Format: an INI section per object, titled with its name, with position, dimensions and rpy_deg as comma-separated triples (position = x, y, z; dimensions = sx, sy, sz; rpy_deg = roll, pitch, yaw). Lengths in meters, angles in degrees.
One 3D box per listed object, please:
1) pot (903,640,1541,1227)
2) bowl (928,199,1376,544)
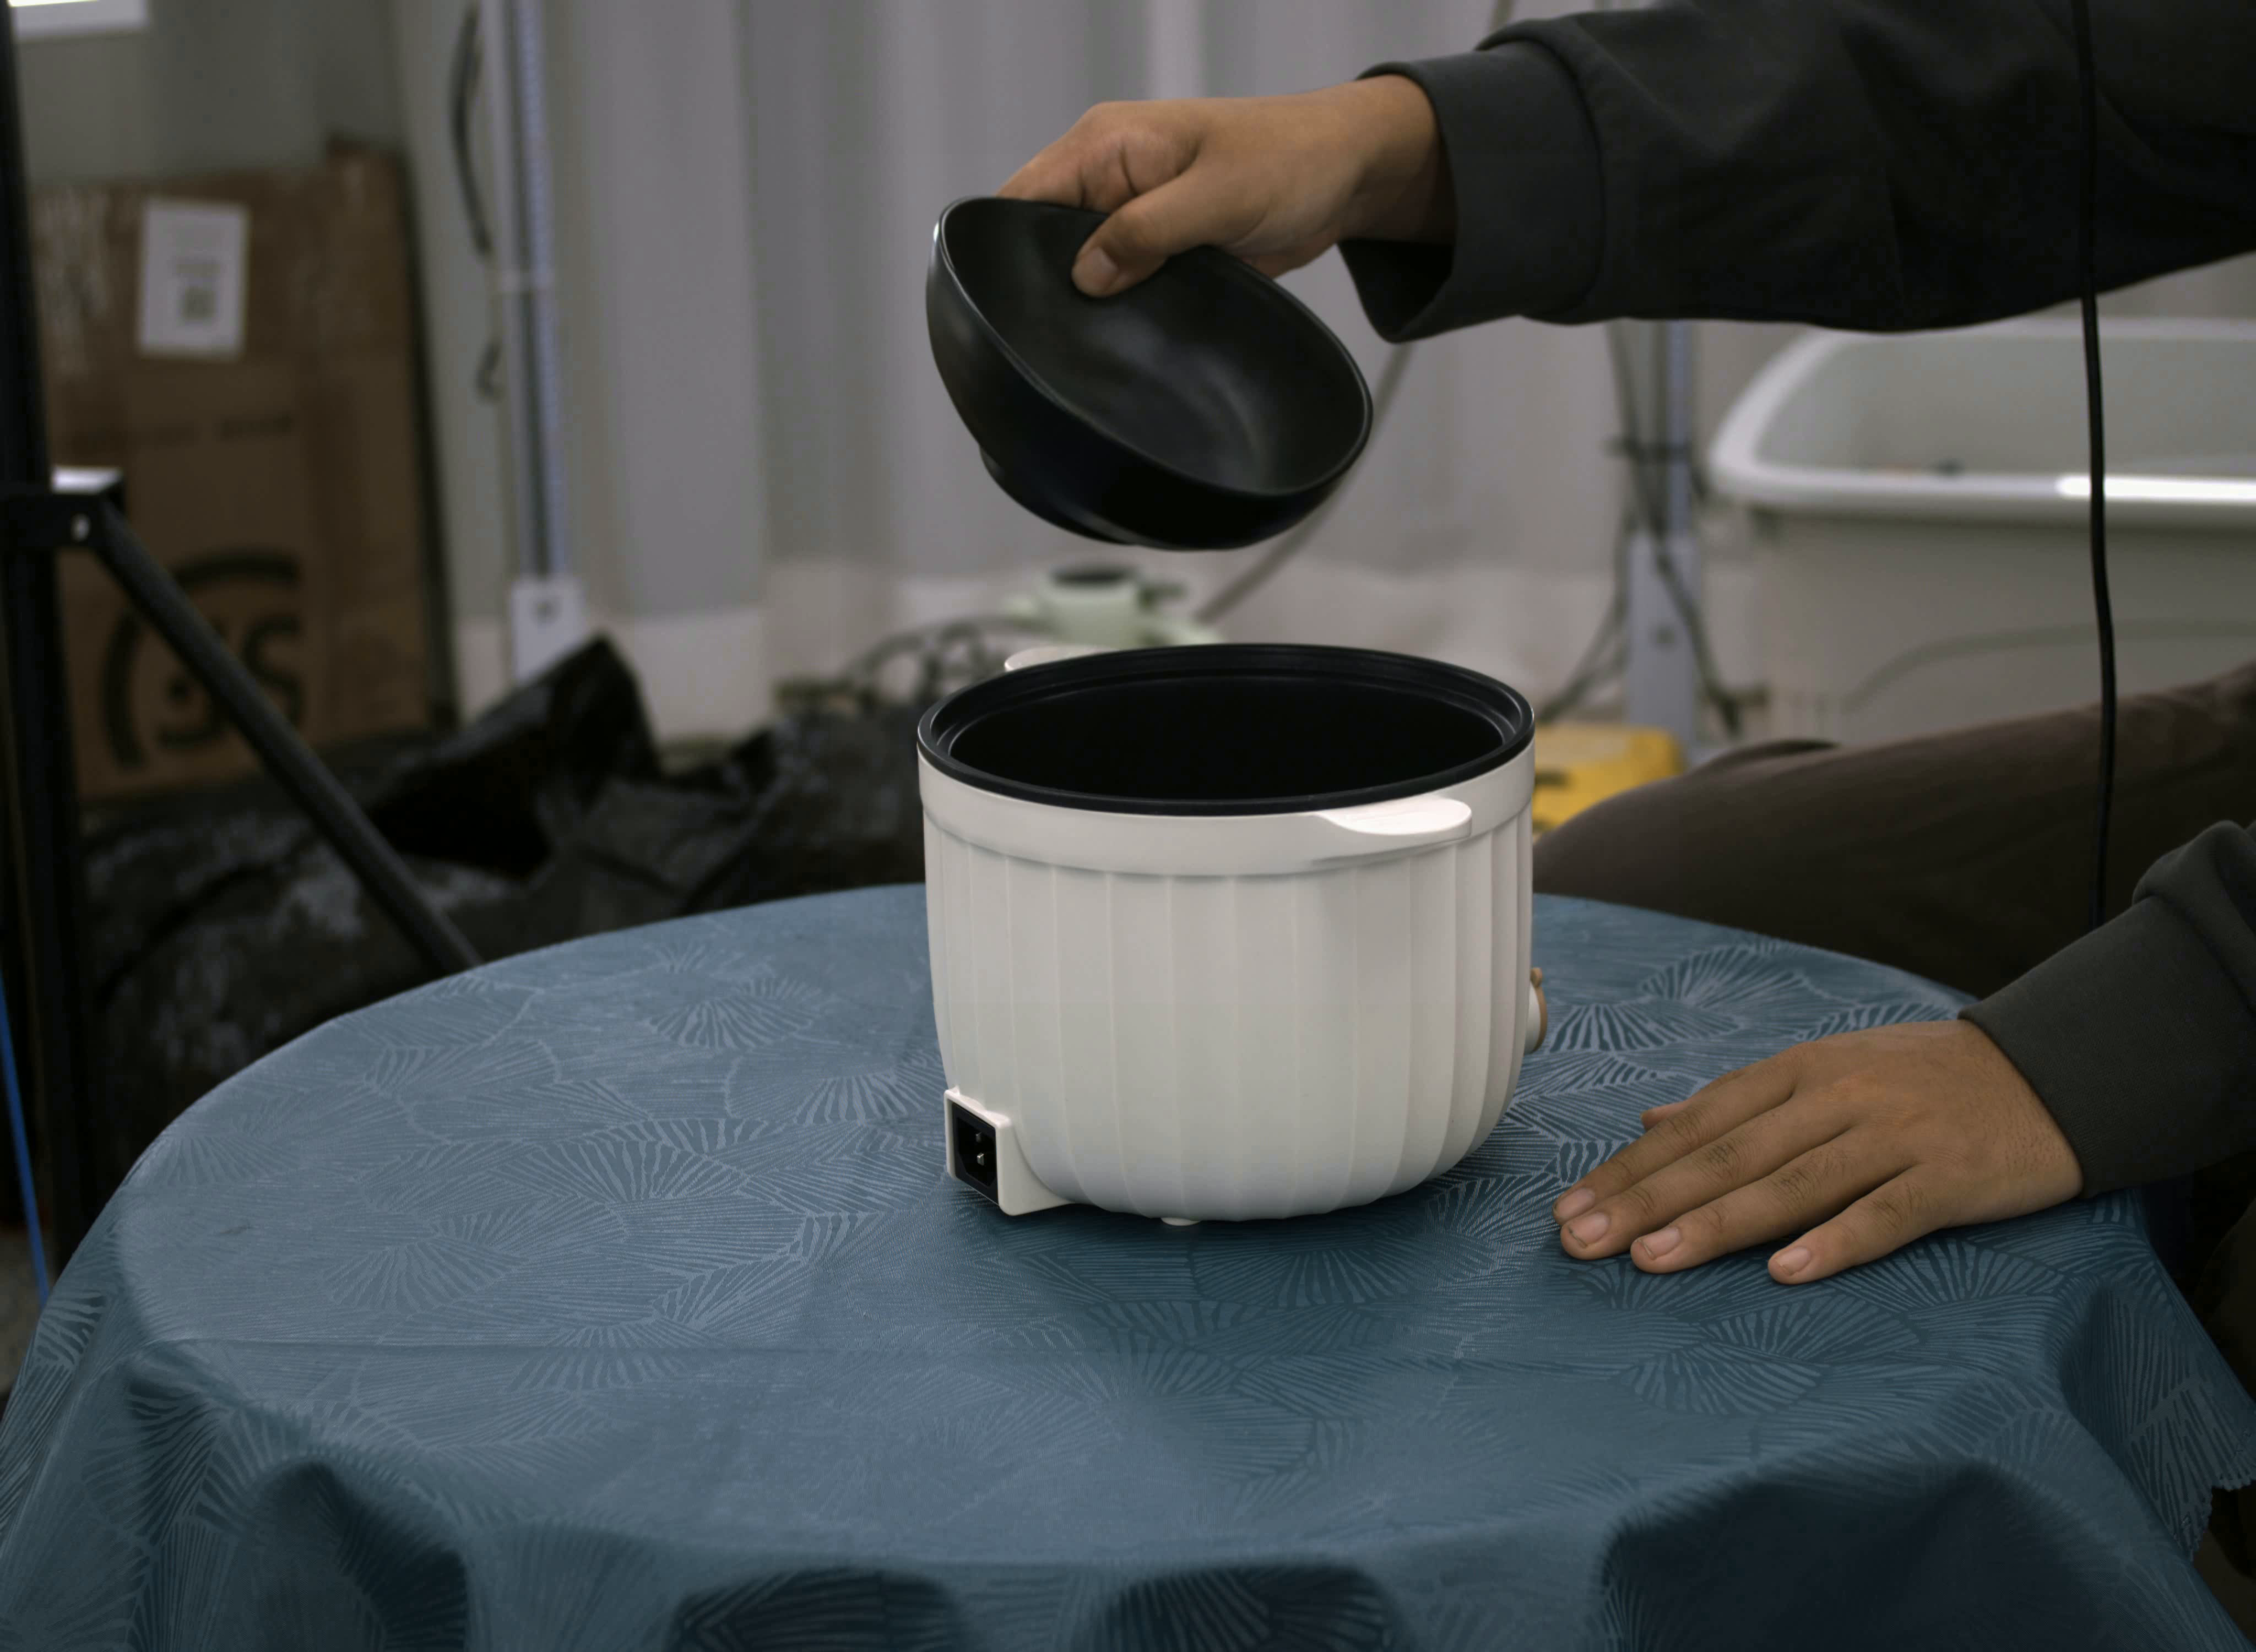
[pot]
position = 0.034, 0.032, 1.569
dimensions = 0.187, 0.142, 0.245
rpy_deg = -13, 20, -25
[bowl]
position = -0.003, -0.131, 1.623
dimensions = 0.134, 0.067, 0.174
rpy_deg = 6, 33, -28
